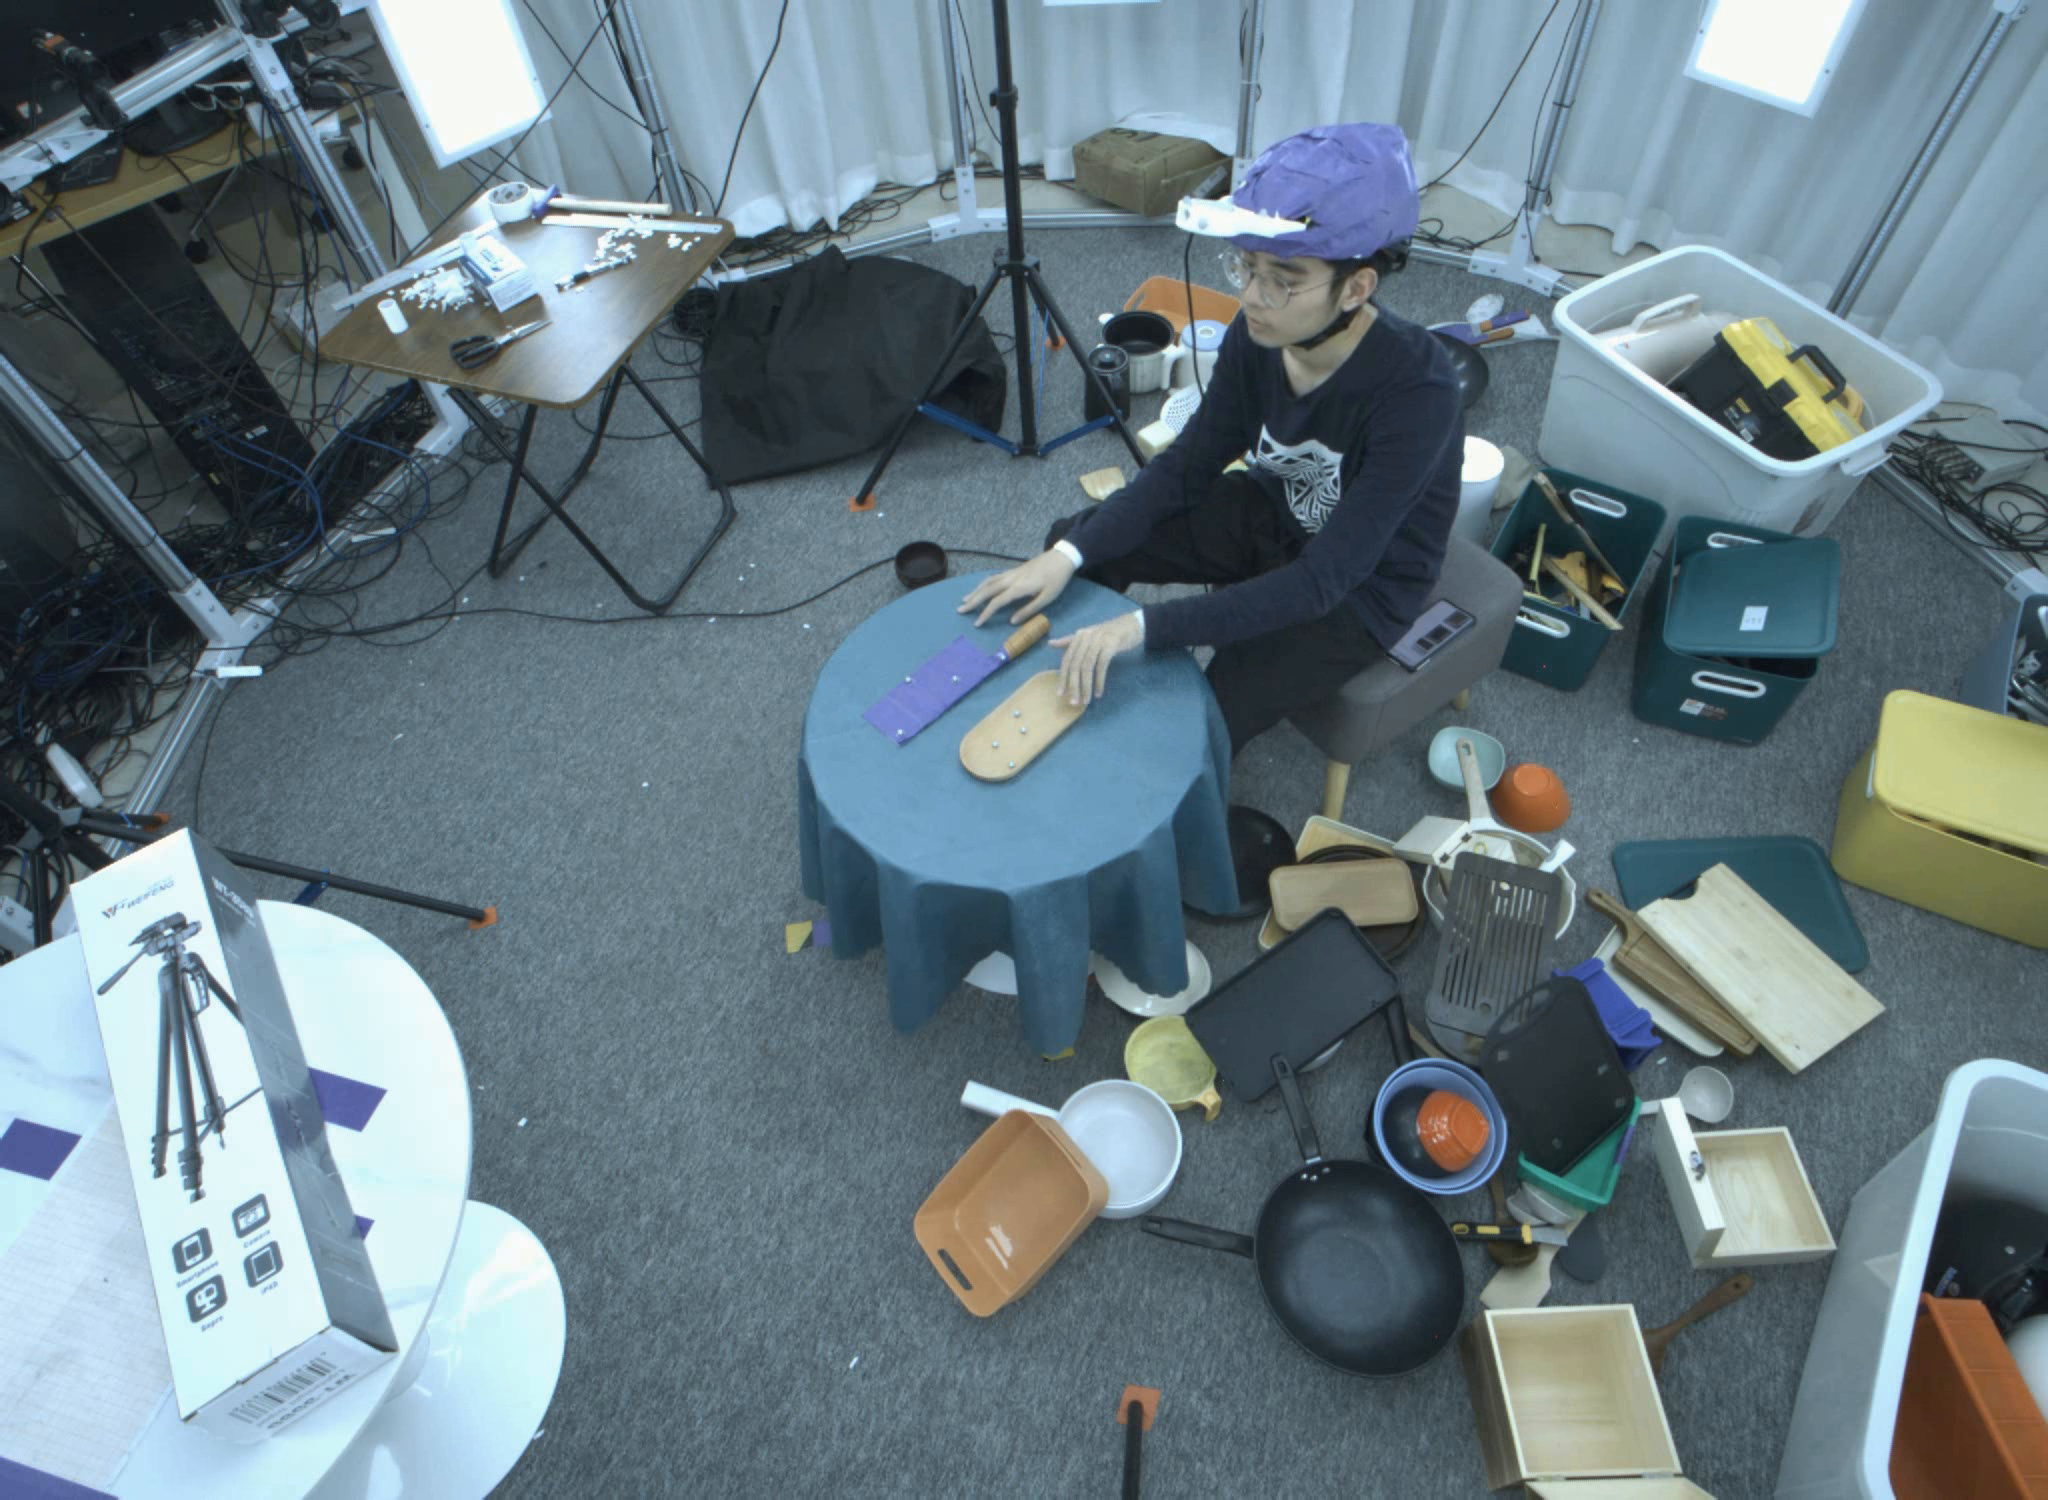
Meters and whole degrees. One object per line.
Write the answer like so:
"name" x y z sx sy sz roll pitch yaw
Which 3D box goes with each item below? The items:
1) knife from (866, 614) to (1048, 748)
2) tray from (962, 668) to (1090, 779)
"knife" -0.103 -0.125 1.870 0.102 0.032 0.317 39 64 25
"tray" 0.004 -0.041 1.814 0.100 0.020 0.233 35 60 23
